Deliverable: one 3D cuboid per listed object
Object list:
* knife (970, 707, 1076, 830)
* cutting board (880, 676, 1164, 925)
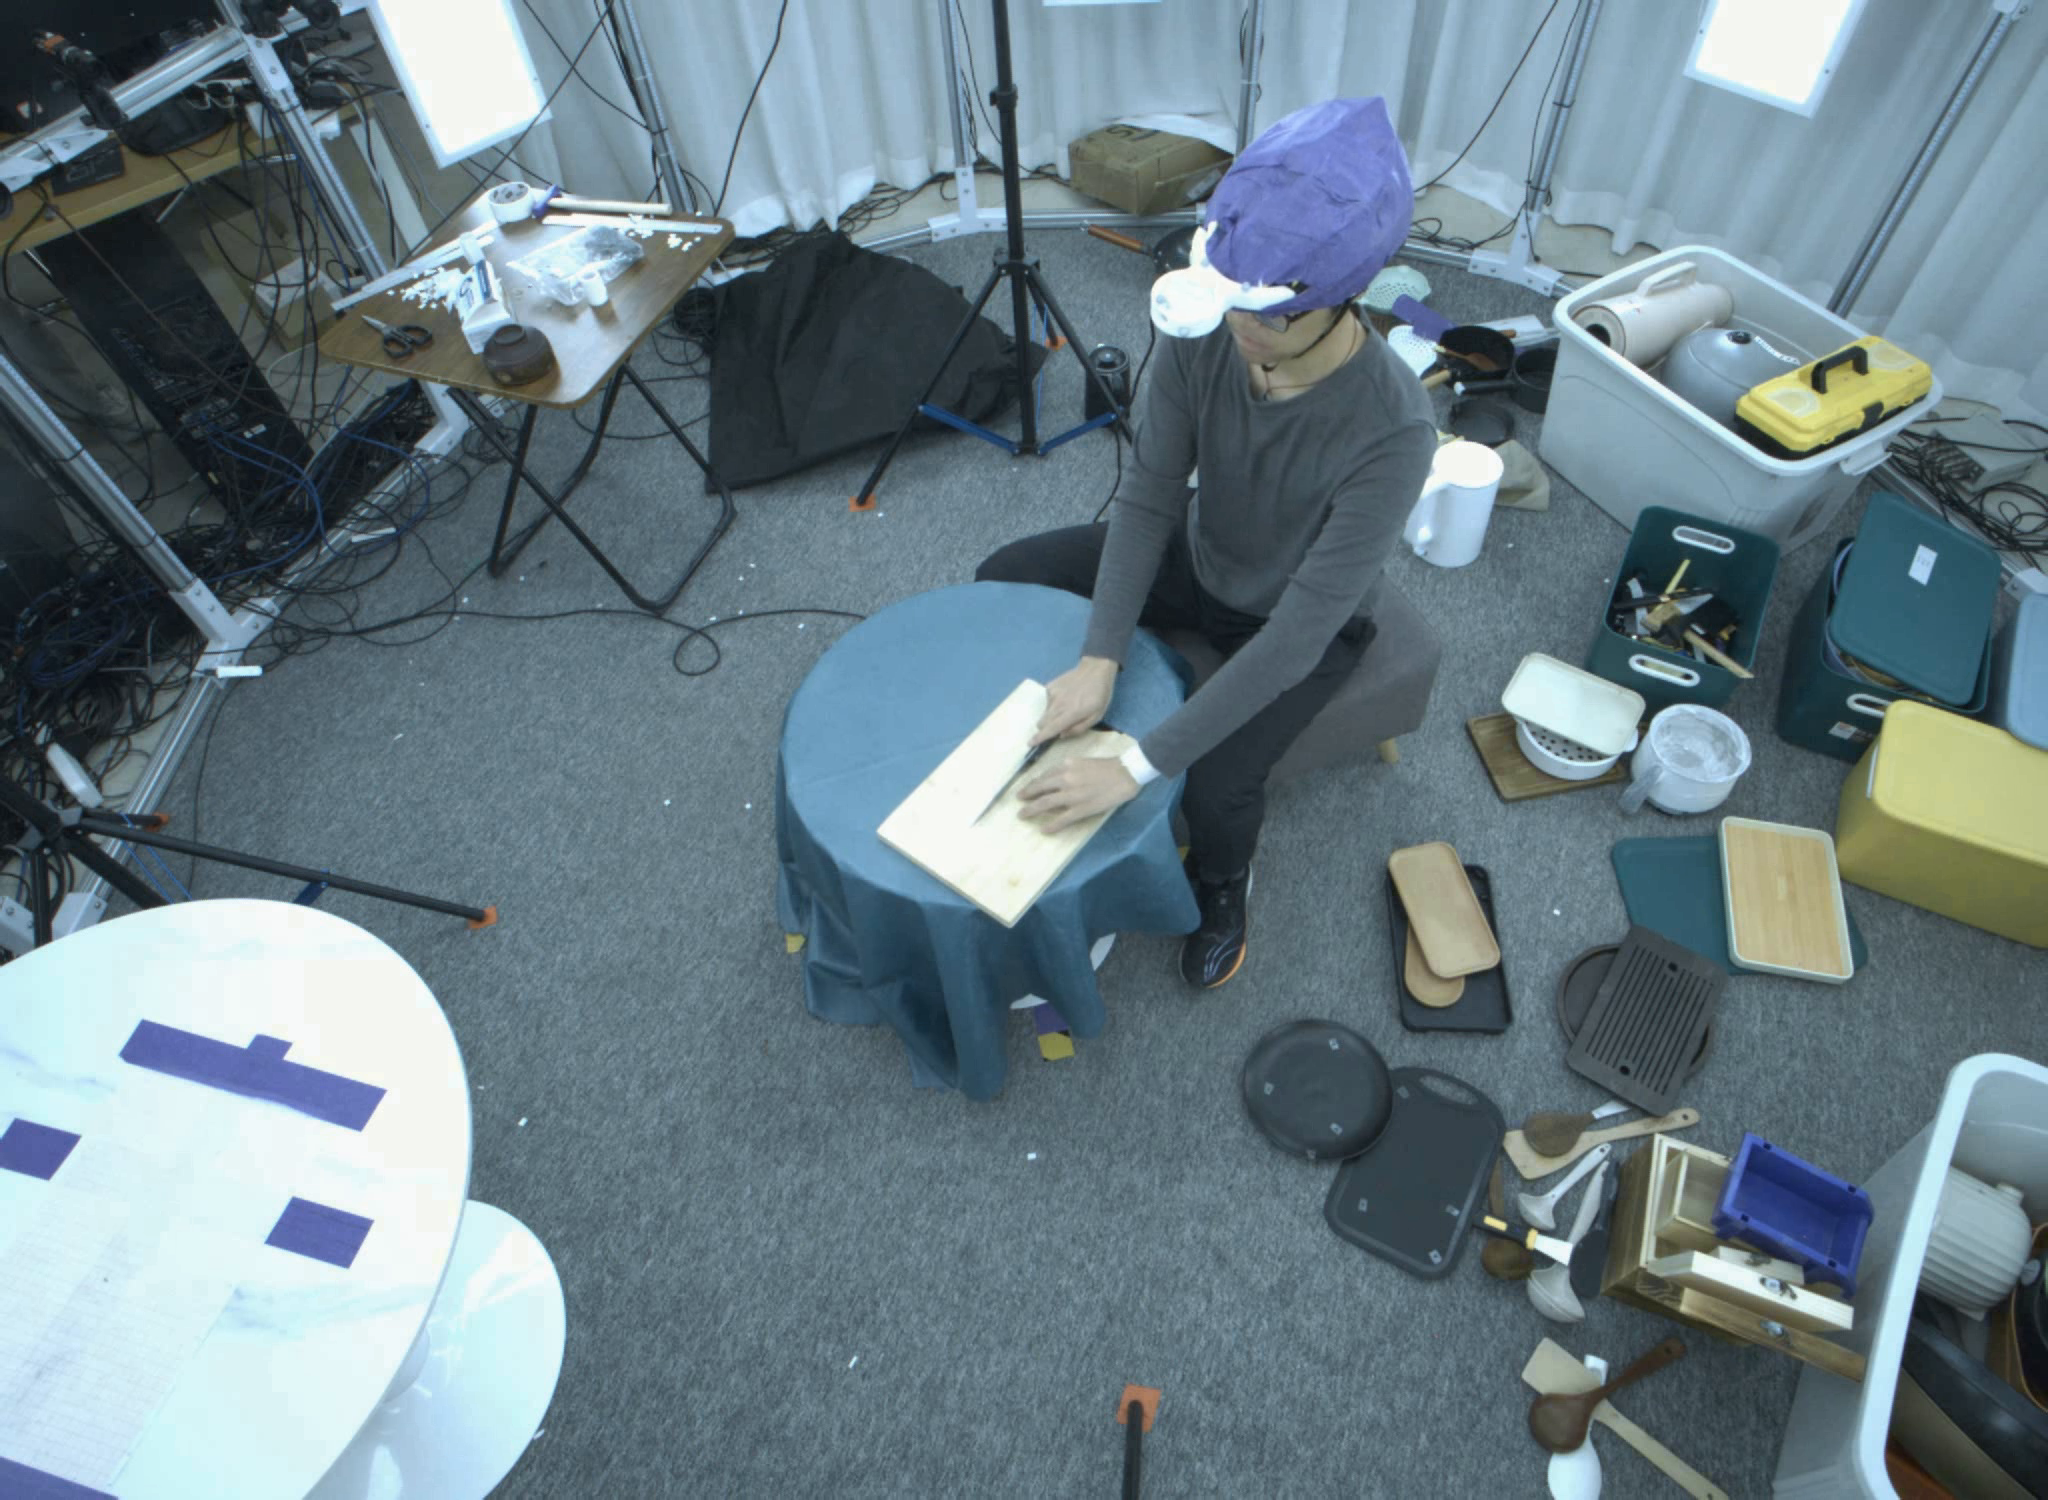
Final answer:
[{"bbox_3d":[-0.002,0.024,1.735,0.016,0.025,0.239,33,68,19],"label":"knife"},{"bbox_3d":[-0.002,0.060,1.743,0.247,0.024,0.350,31,61,21],"label":"cutting board"}]
